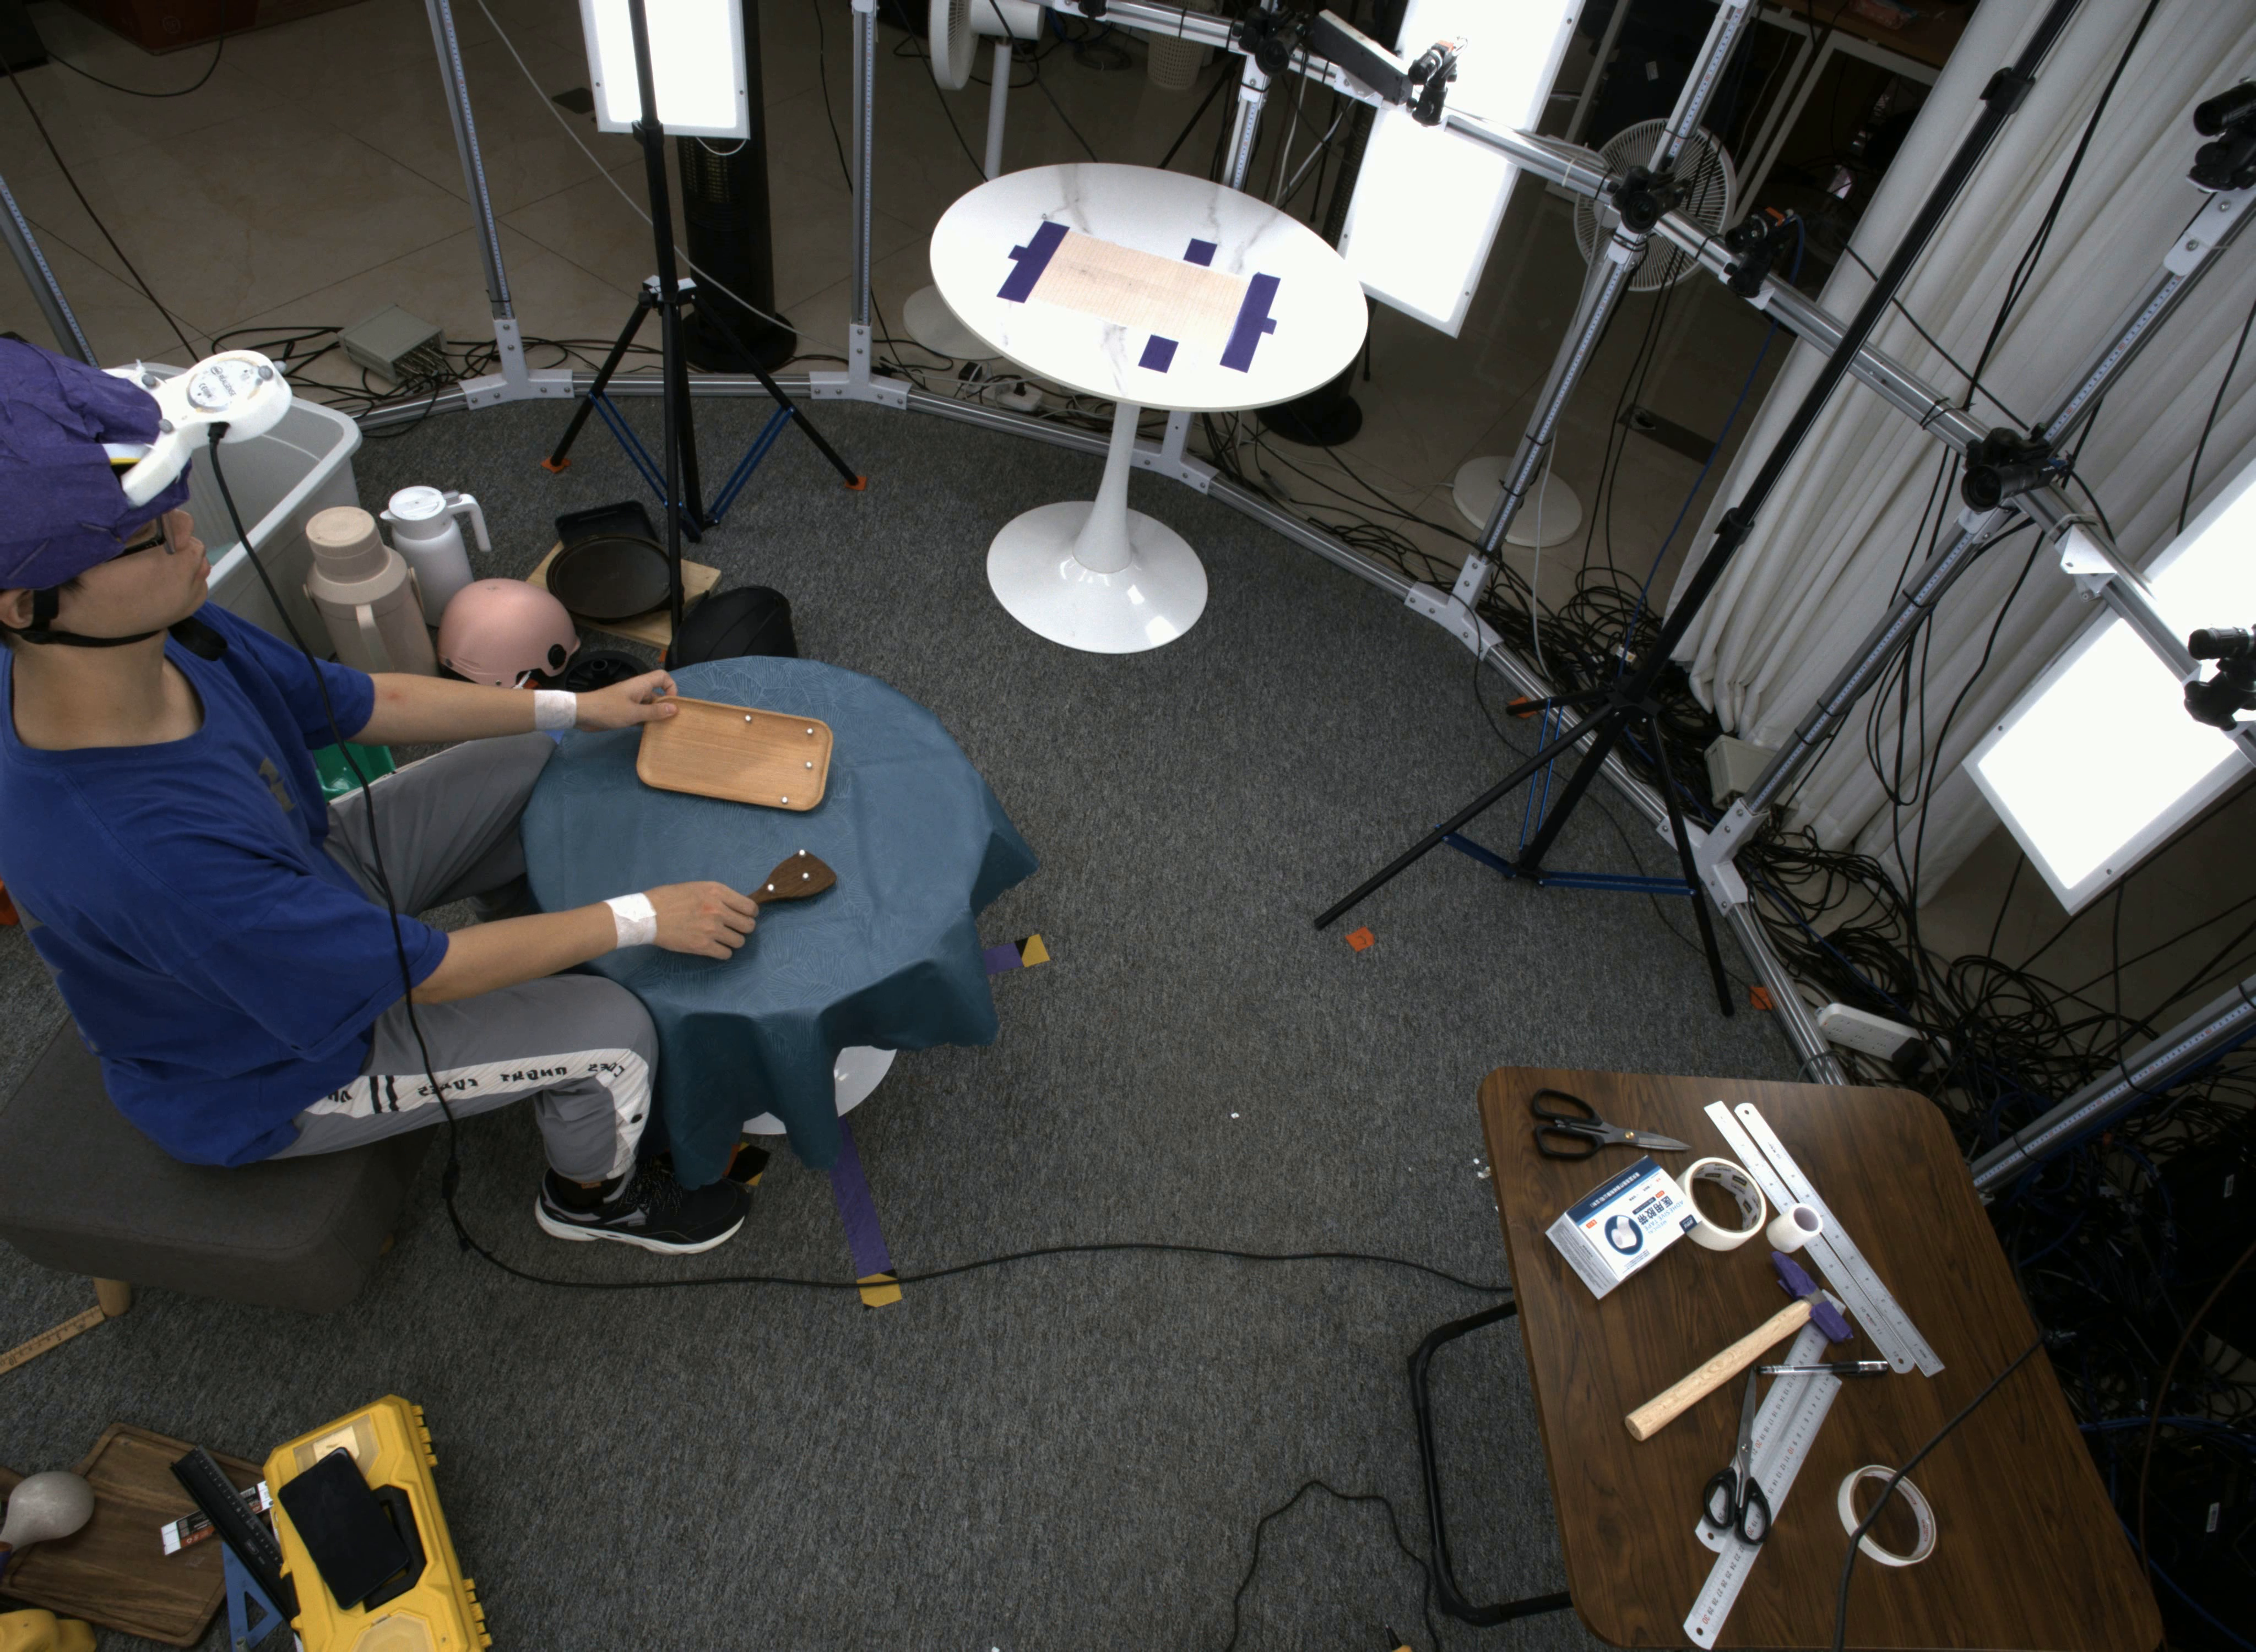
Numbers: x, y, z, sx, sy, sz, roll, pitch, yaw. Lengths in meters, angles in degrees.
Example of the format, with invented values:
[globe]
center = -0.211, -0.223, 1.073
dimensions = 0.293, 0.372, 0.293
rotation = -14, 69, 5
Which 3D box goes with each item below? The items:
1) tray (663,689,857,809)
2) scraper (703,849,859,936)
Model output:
[tray]
center = -0.497, -0.104, 1.748
dimensions = 0.249, 0.023, 0.131
rotation = 11, 78, -6
[scraper]
center = -0.441, 0.087, 1.640
dimensions = 0.073, 0.011, 0.212
rotation = 39, 45, 24
